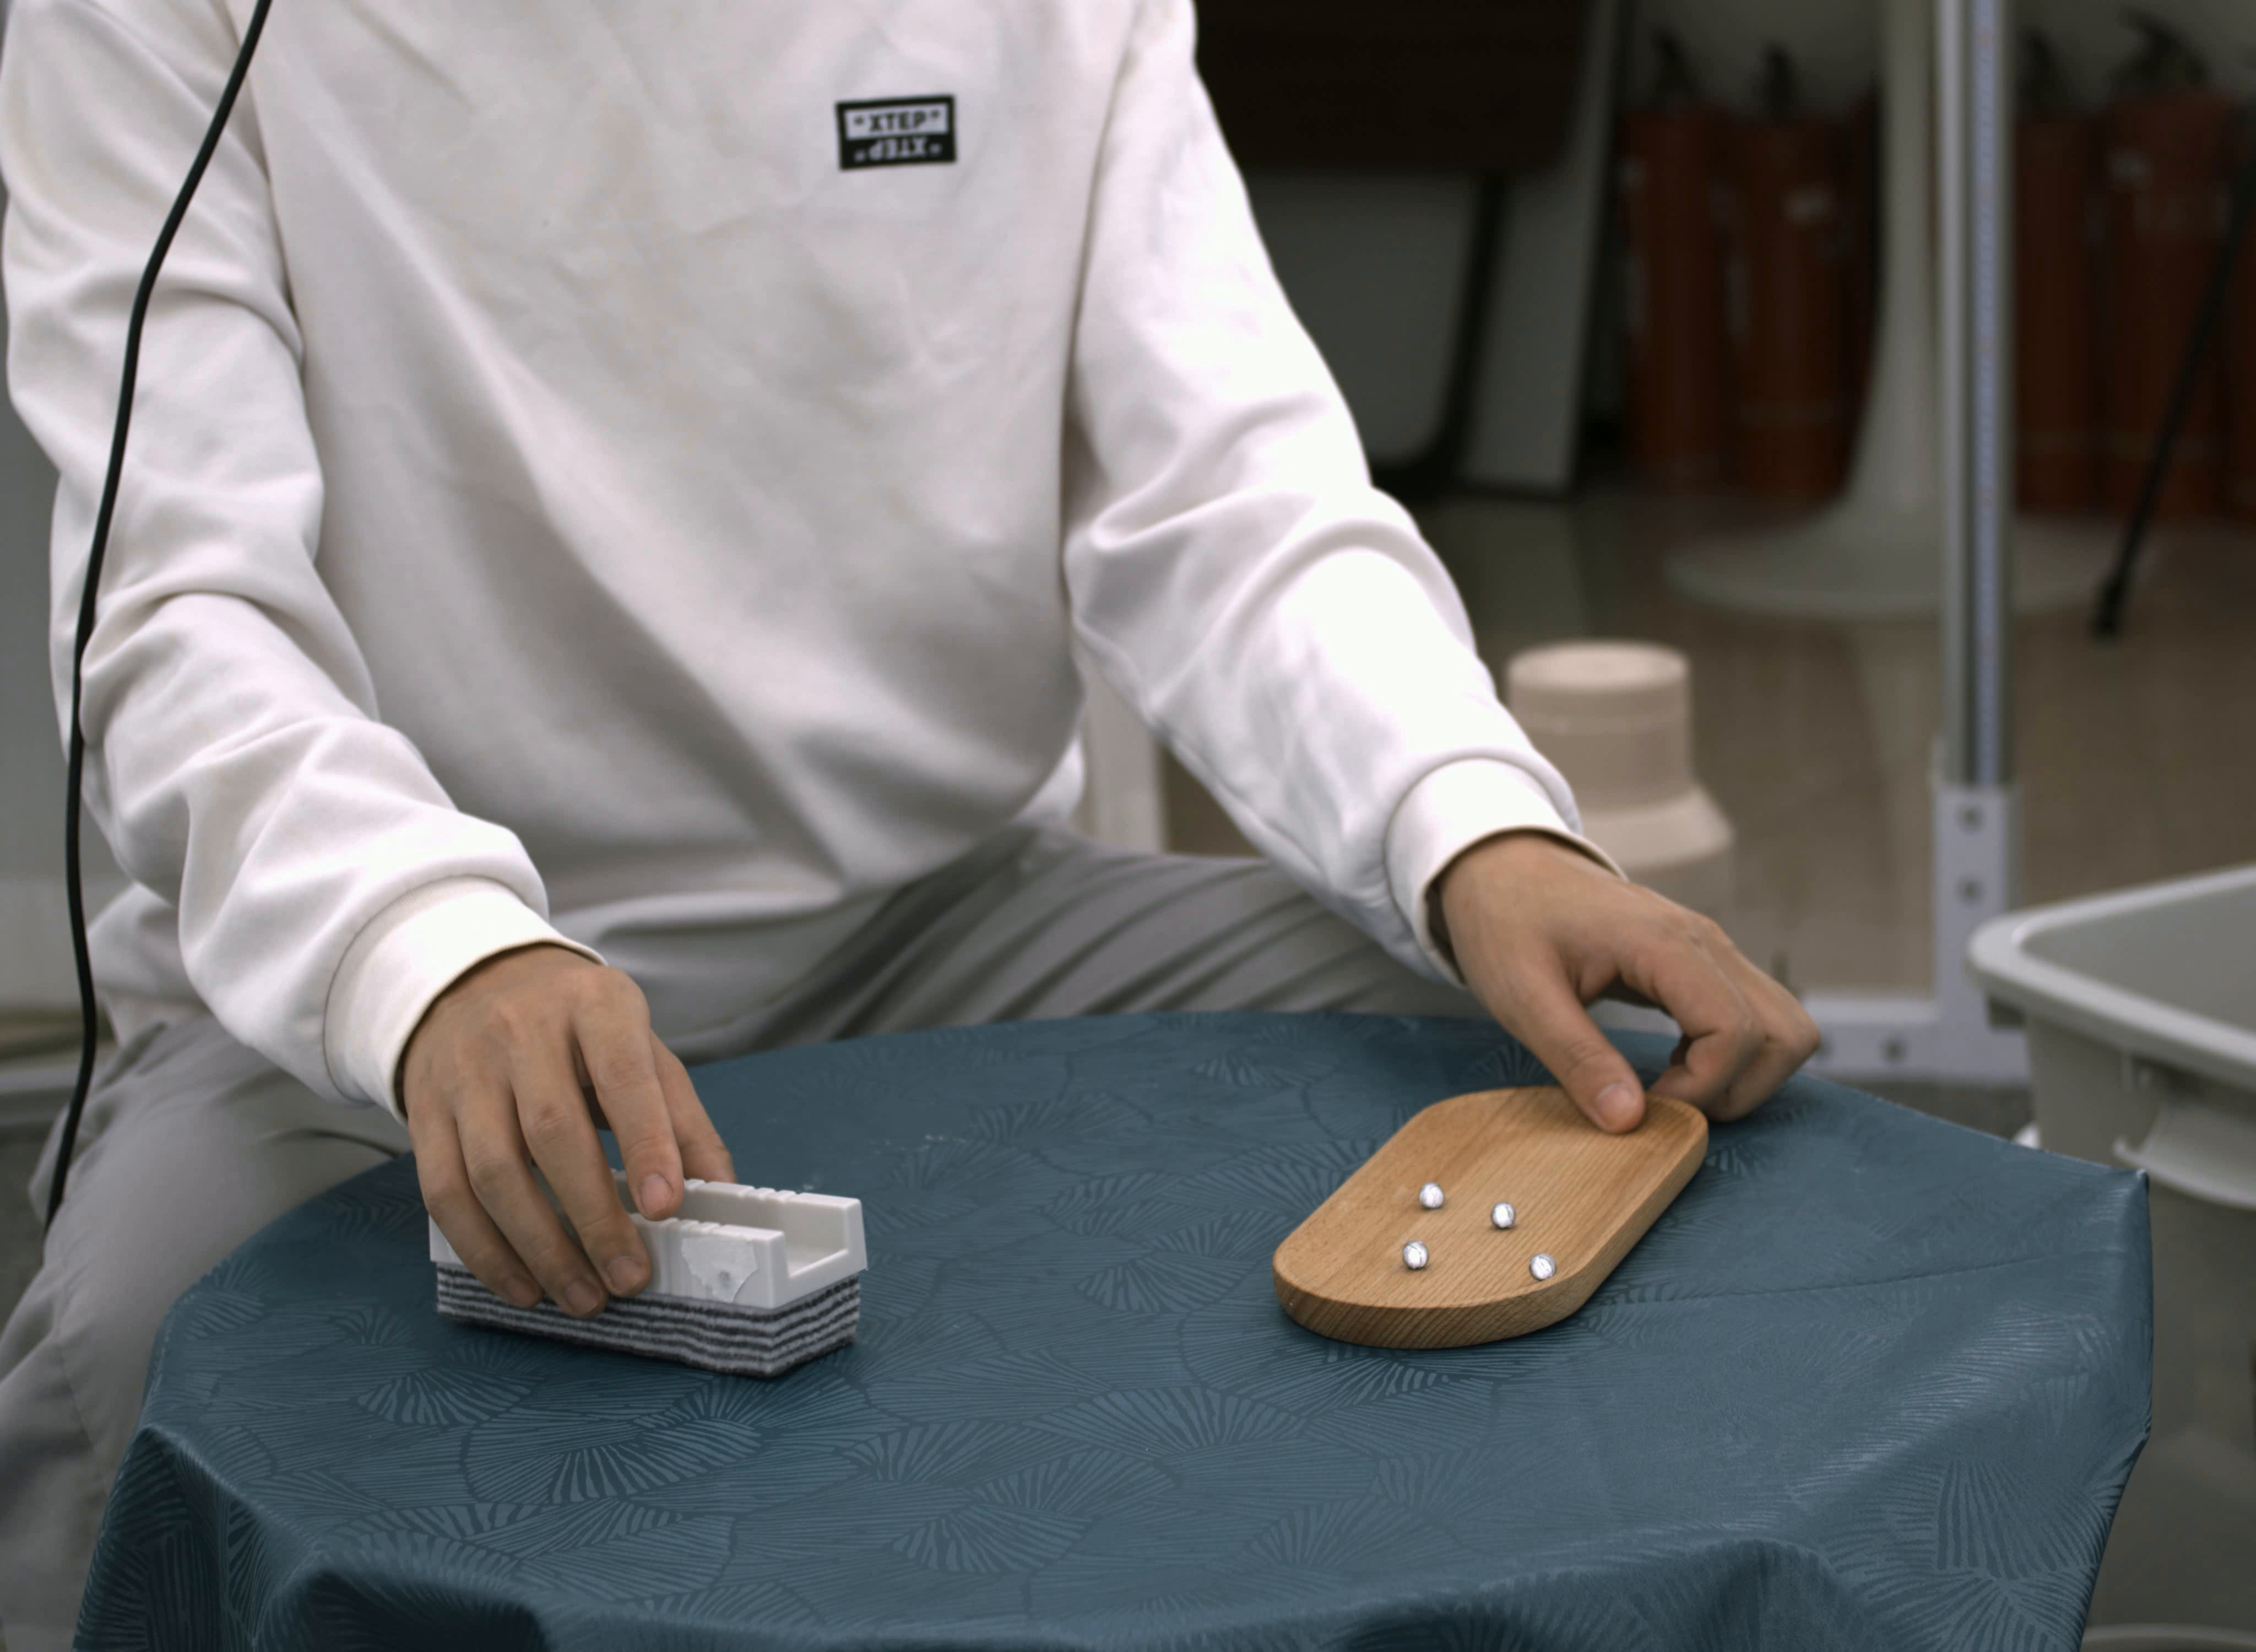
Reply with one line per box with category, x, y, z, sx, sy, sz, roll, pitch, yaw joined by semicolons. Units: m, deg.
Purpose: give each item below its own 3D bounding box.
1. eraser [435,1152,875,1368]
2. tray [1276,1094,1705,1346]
eraser;-0.145;0.133;1.661;0.135;0.047;0.049;5;9;32
tray;0.117;0.123;1.705;0.101;0.020;0.229;2;13;20
